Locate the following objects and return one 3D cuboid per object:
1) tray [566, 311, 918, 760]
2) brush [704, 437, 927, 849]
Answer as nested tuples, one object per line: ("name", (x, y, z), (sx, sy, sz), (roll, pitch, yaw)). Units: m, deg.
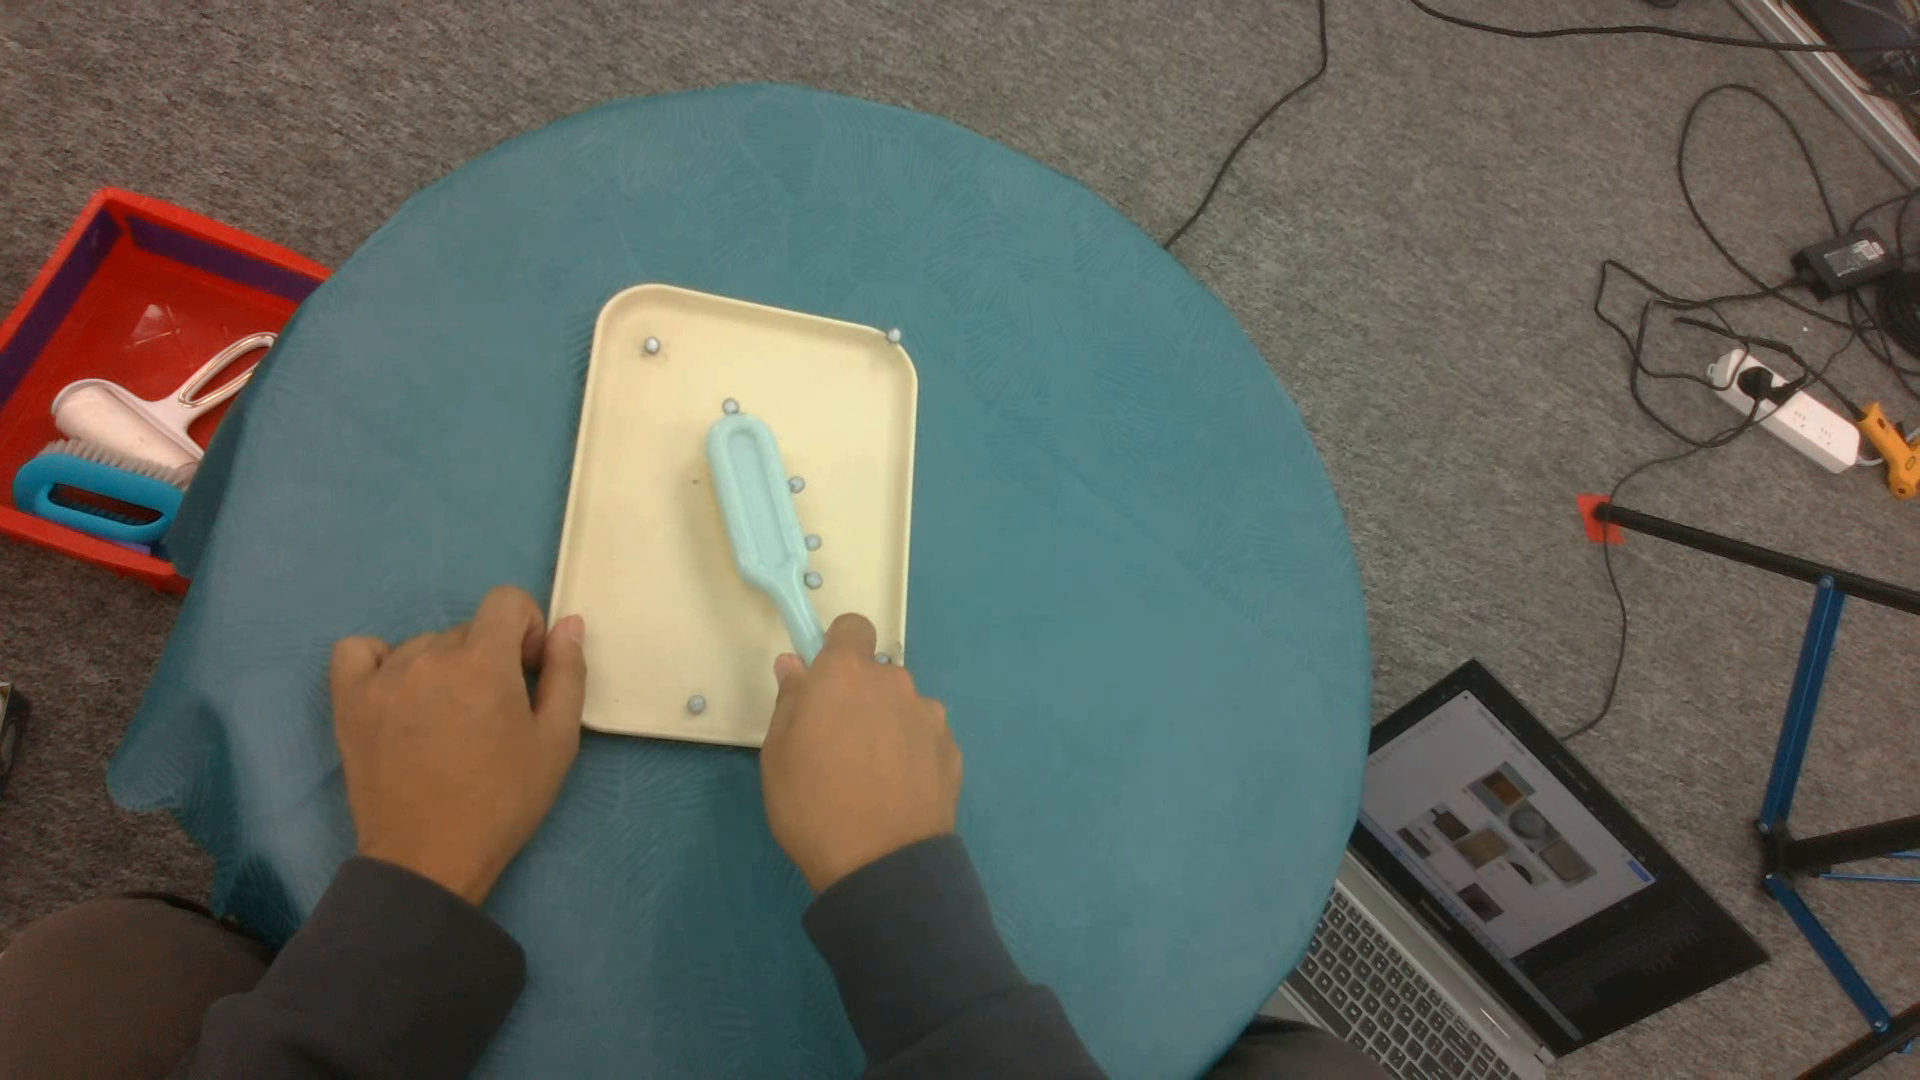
("tray", (-0.106, -0.006, 0.706), (0.171, 0.017, 0.240), (6, 65, -15))
("brush", (-0.071, 0.047, 0.658), (0.038, 0.049, 0.229), (-17, 58, -23))
